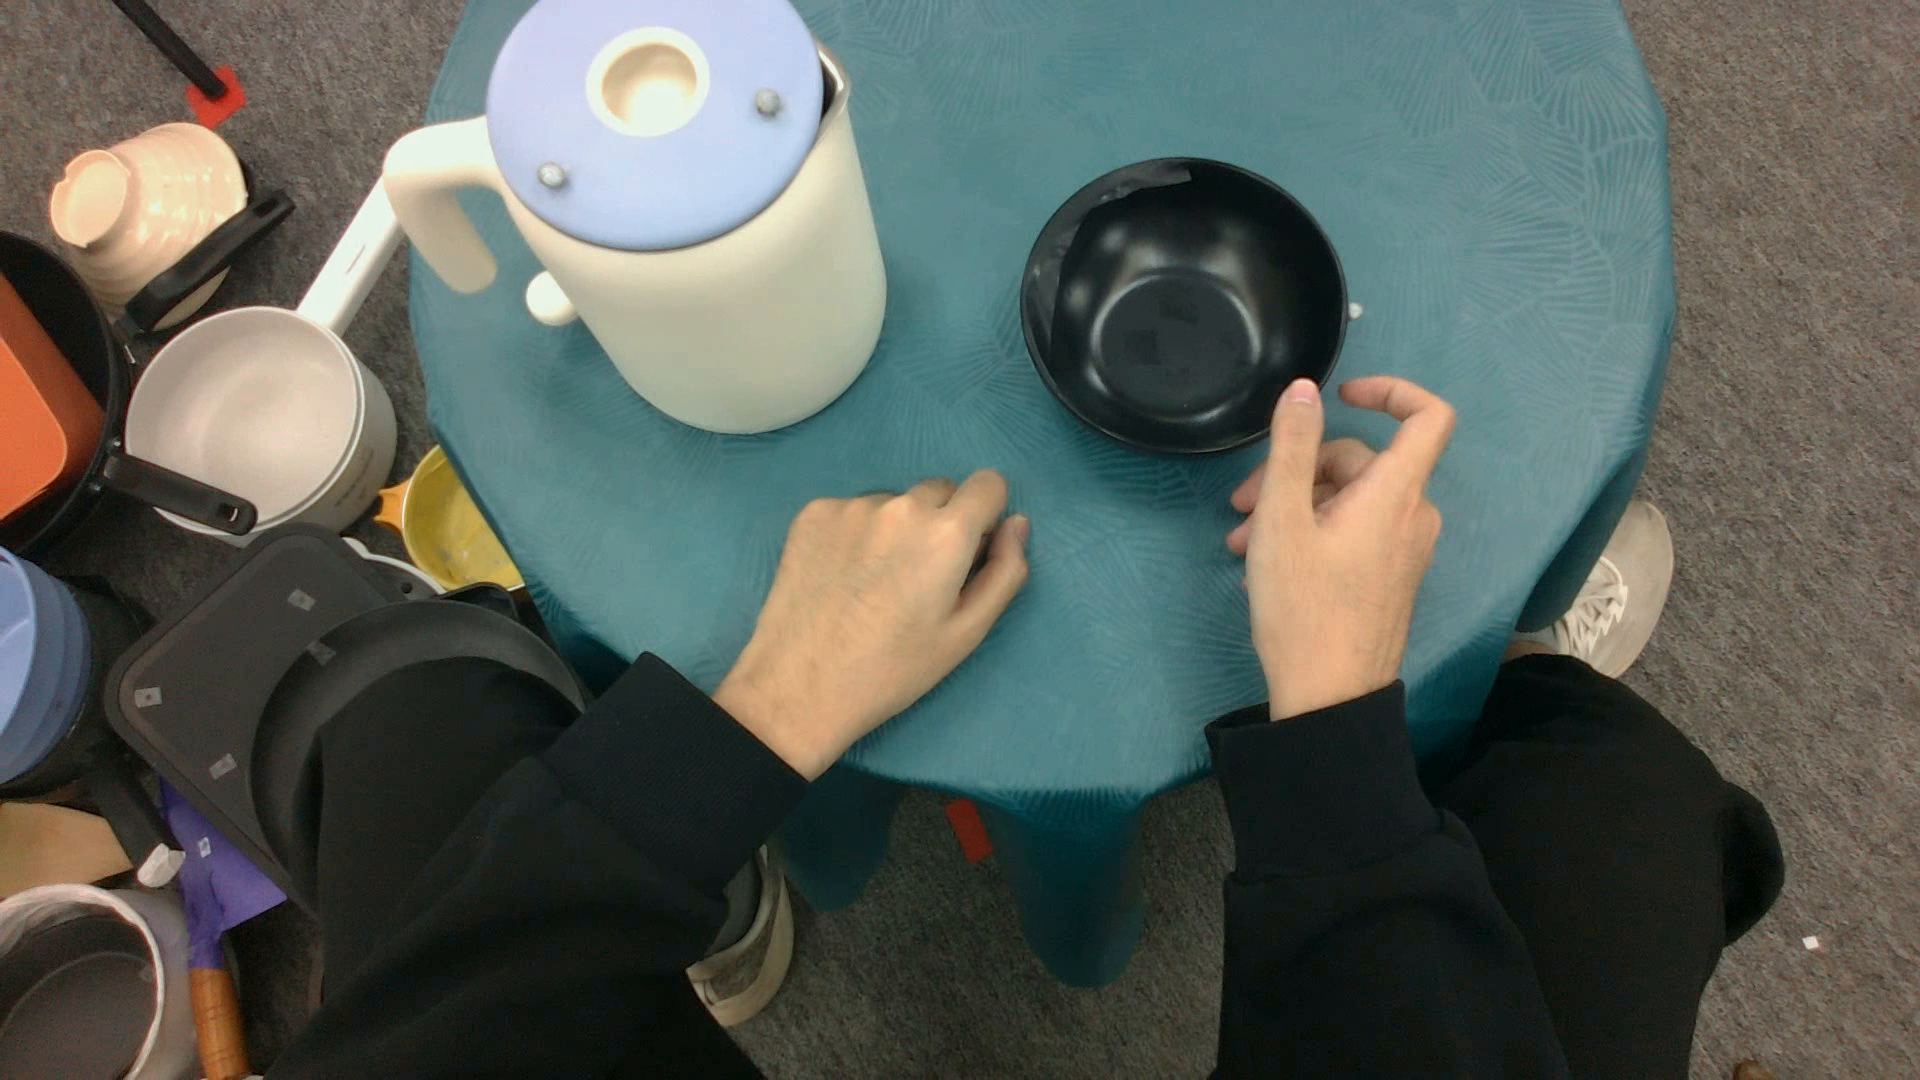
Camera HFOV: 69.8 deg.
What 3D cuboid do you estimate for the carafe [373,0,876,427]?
[{"bbox_3d":[-0.132,-0.132,0.562,0.191,0.182,0.132,-7,72,2],"label":"carafe"}]

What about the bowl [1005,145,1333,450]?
[{"bbox_3d":[0.090,-0.100,0.607,0.140,0.049,0.140,0,75,2],"label":"bowl"}]
